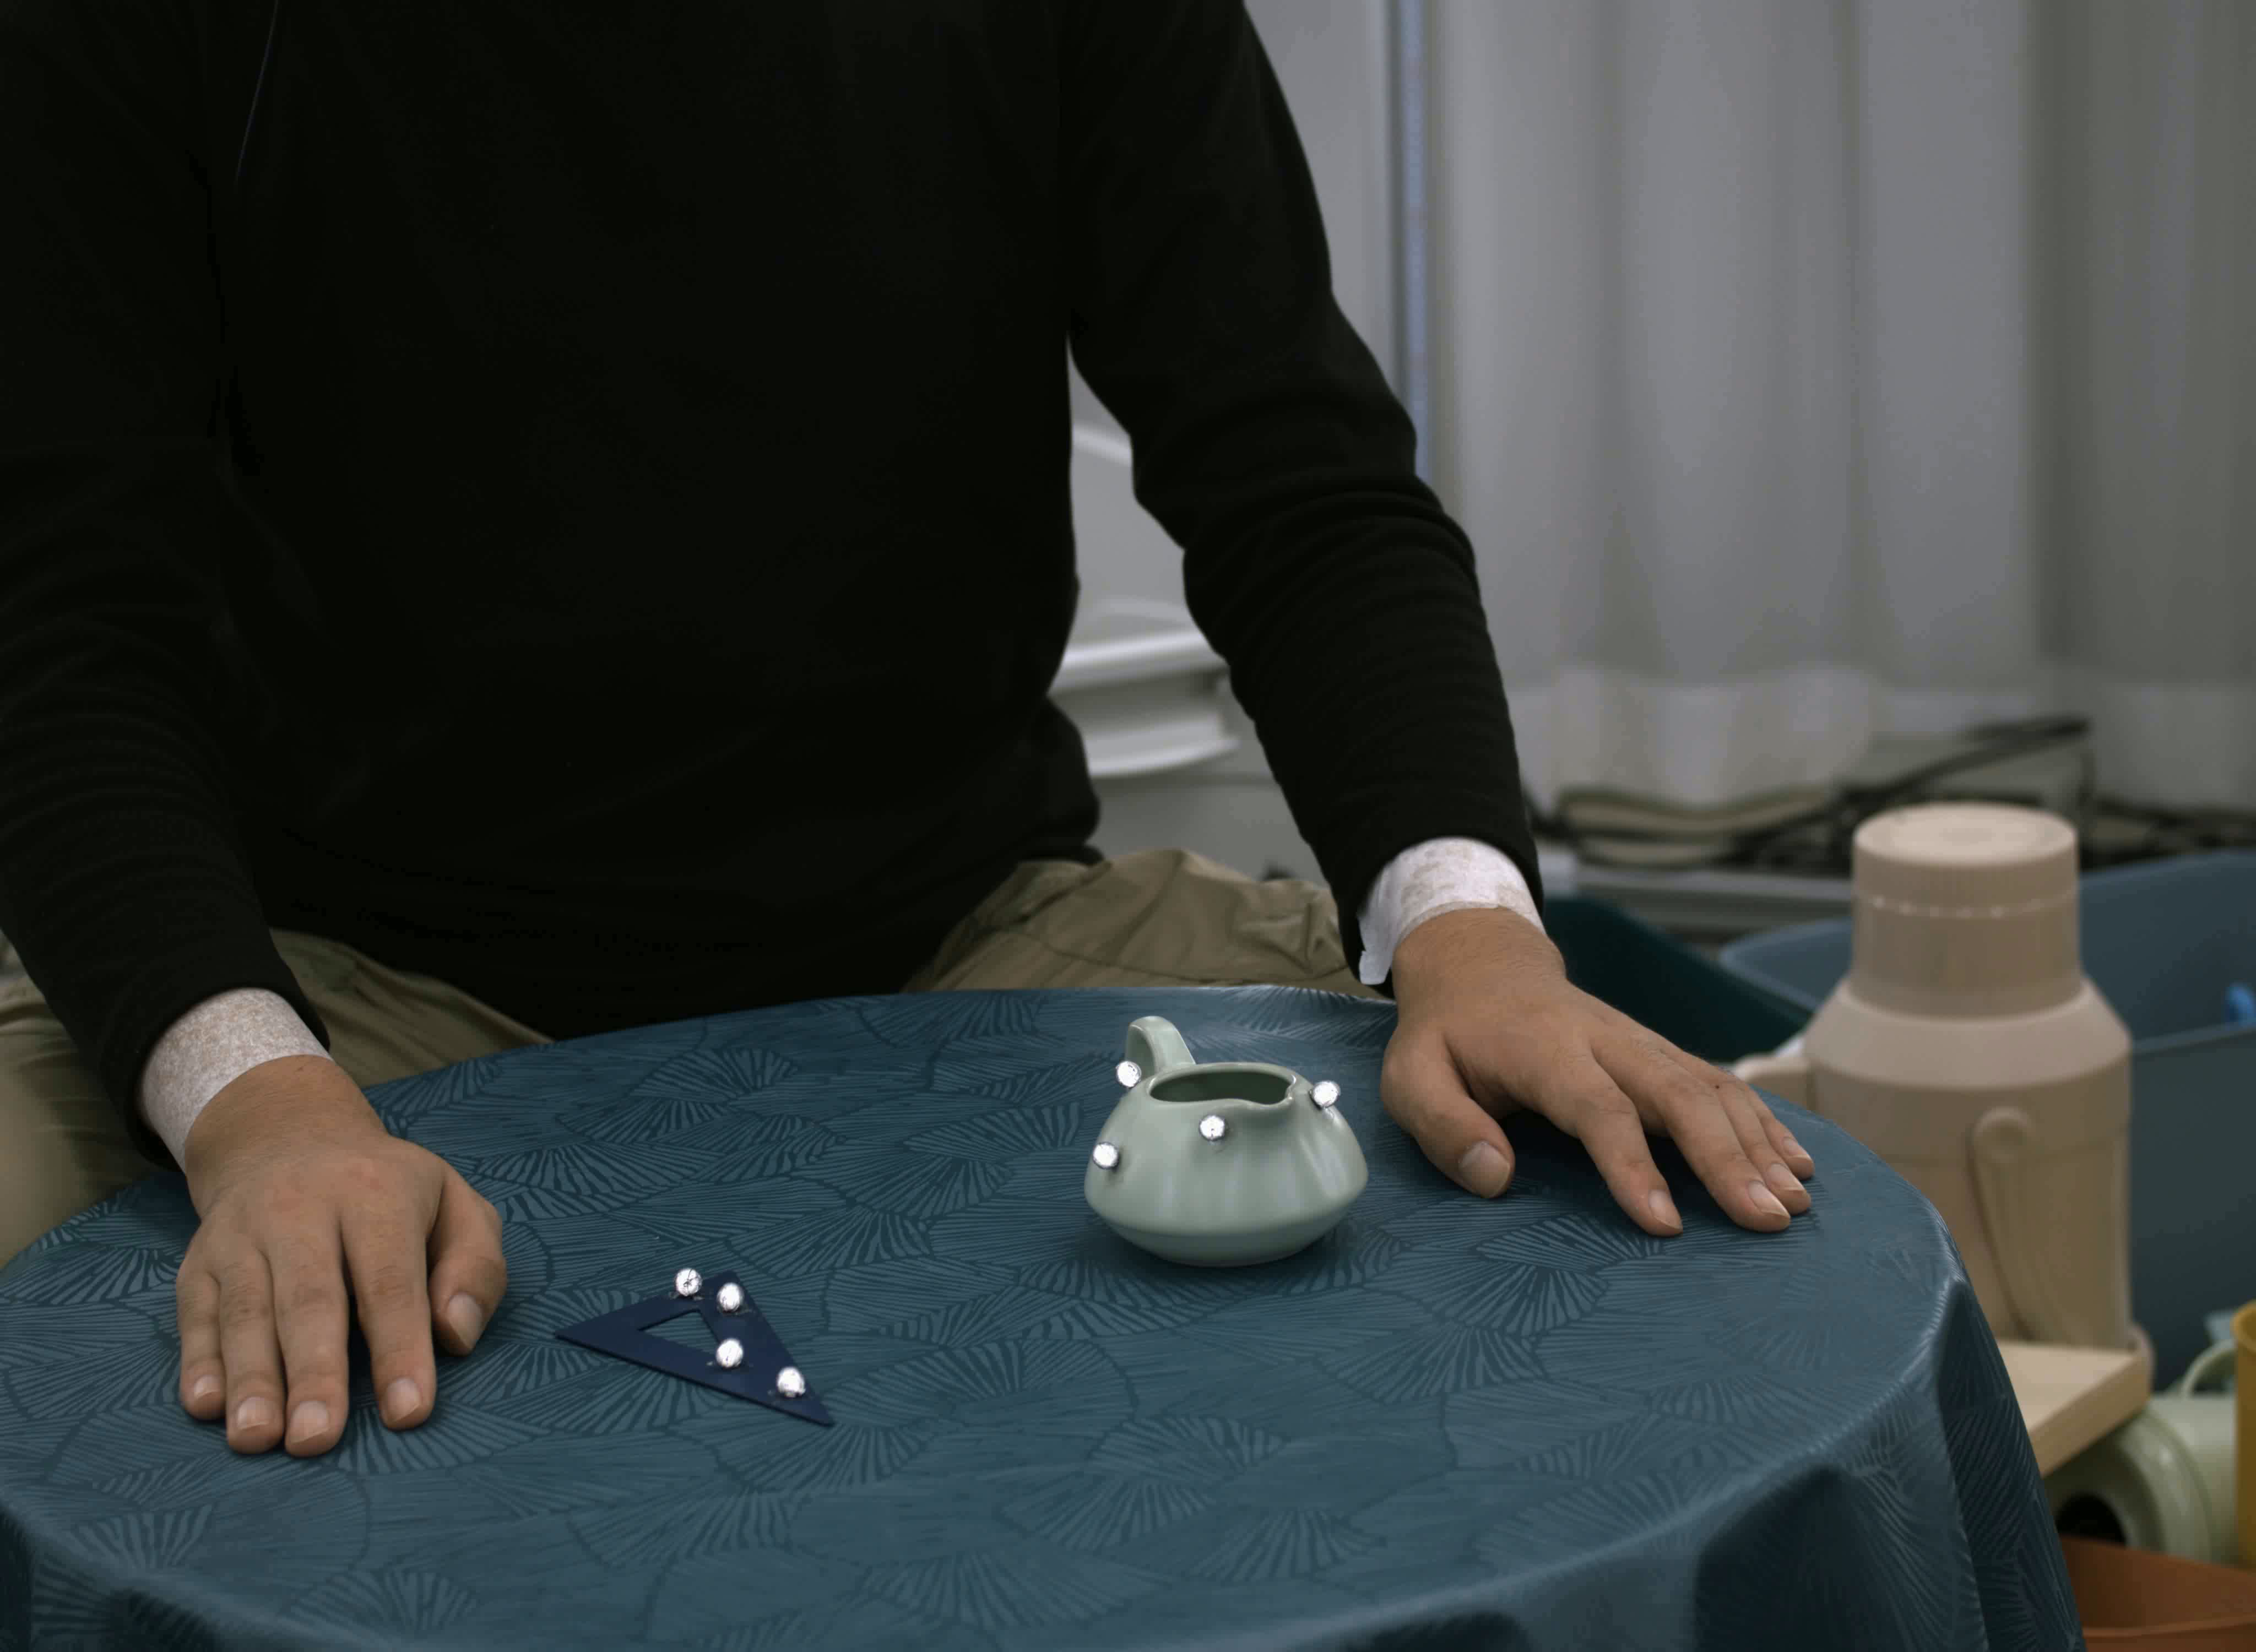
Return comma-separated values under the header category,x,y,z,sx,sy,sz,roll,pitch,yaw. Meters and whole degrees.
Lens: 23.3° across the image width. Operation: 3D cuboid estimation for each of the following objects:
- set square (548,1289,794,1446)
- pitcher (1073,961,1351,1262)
category,x,y,z,sx,sy,sz,roll,pitch,yaw
set square,-0.133,0.157,1.574,0.061,0.006,0.133,-5,15,-11
pitcher,0.022,0.089,1.675,0.086,0.060,0.109,-14,33,-3
